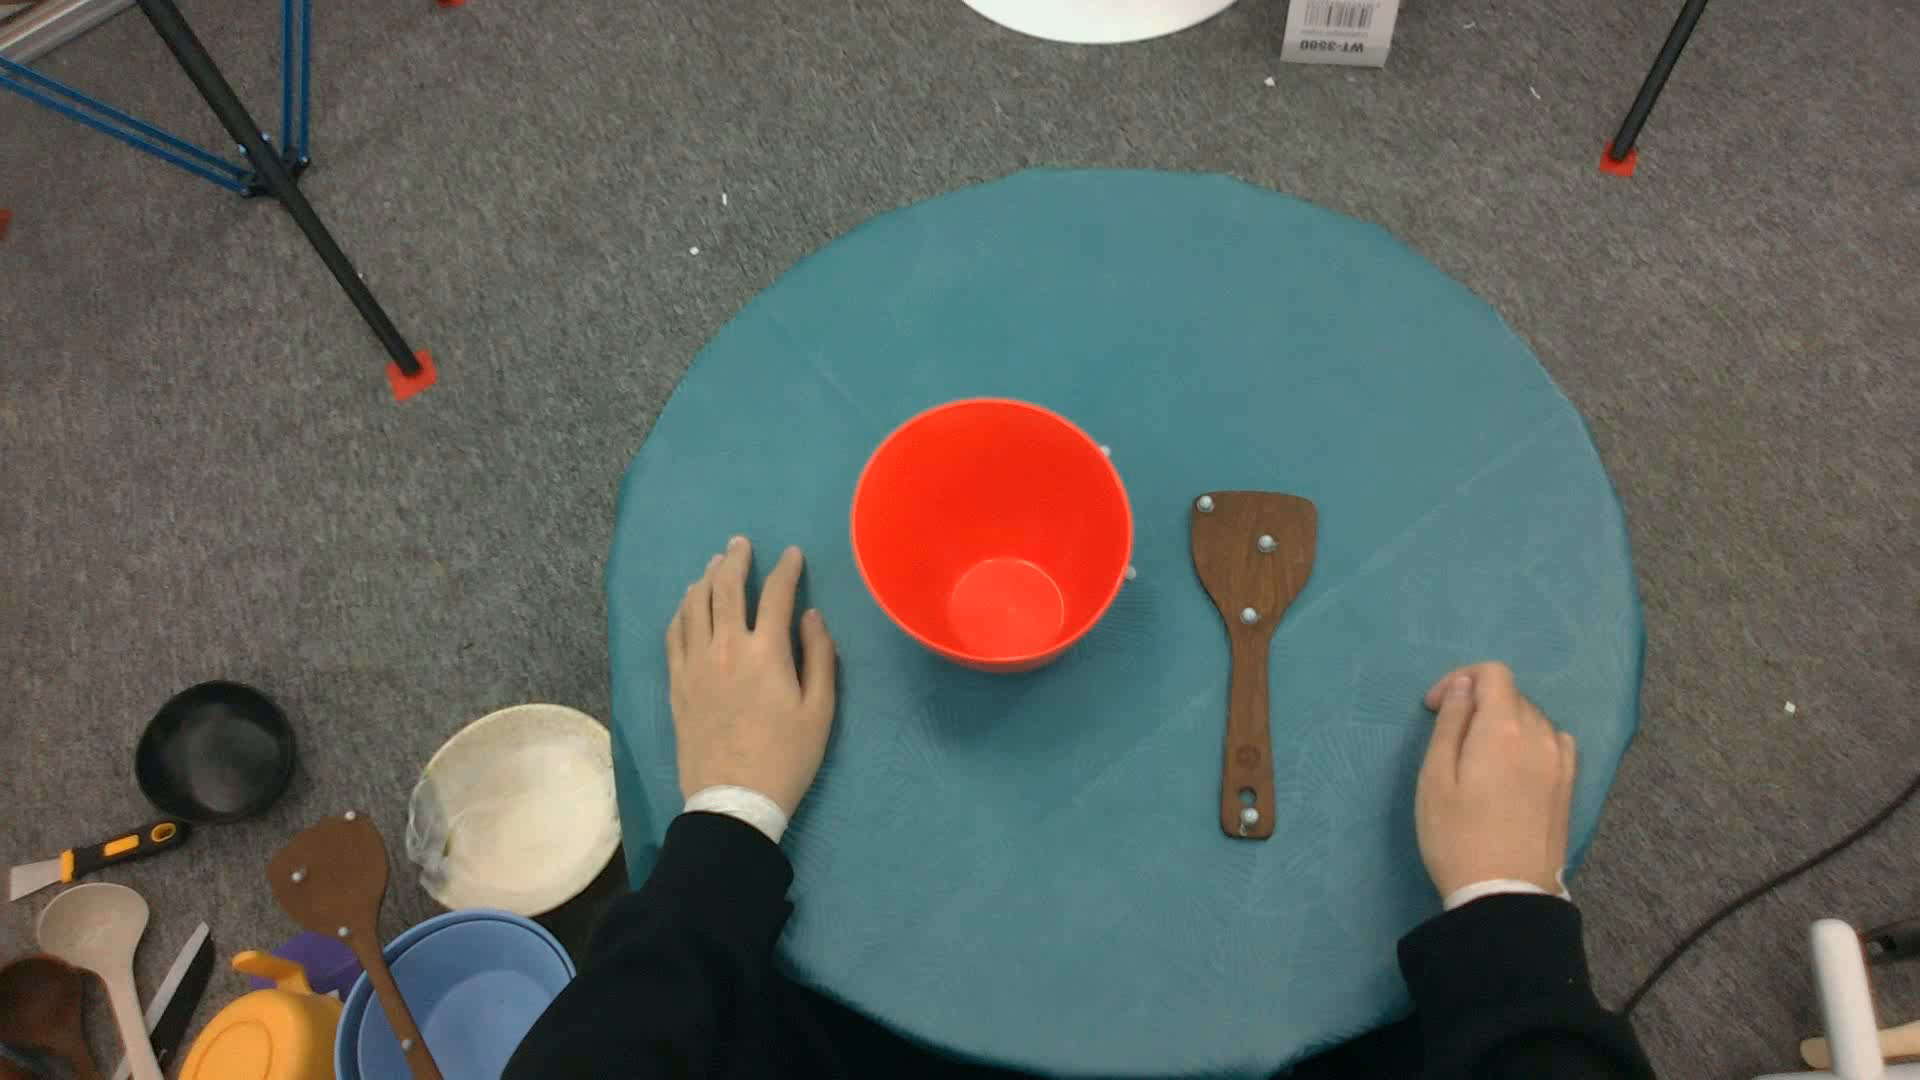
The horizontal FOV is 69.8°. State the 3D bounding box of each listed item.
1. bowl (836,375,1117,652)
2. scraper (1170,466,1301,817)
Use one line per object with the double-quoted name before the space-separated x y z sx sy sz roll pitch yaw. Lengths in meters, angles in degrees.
"bowl" 0.010 -0.002 0.755 0.148 0.104 0.148 0 63 1
"scraper" 0.153 0.052 0.771 0.076 0.011 0.212 4 63 6
